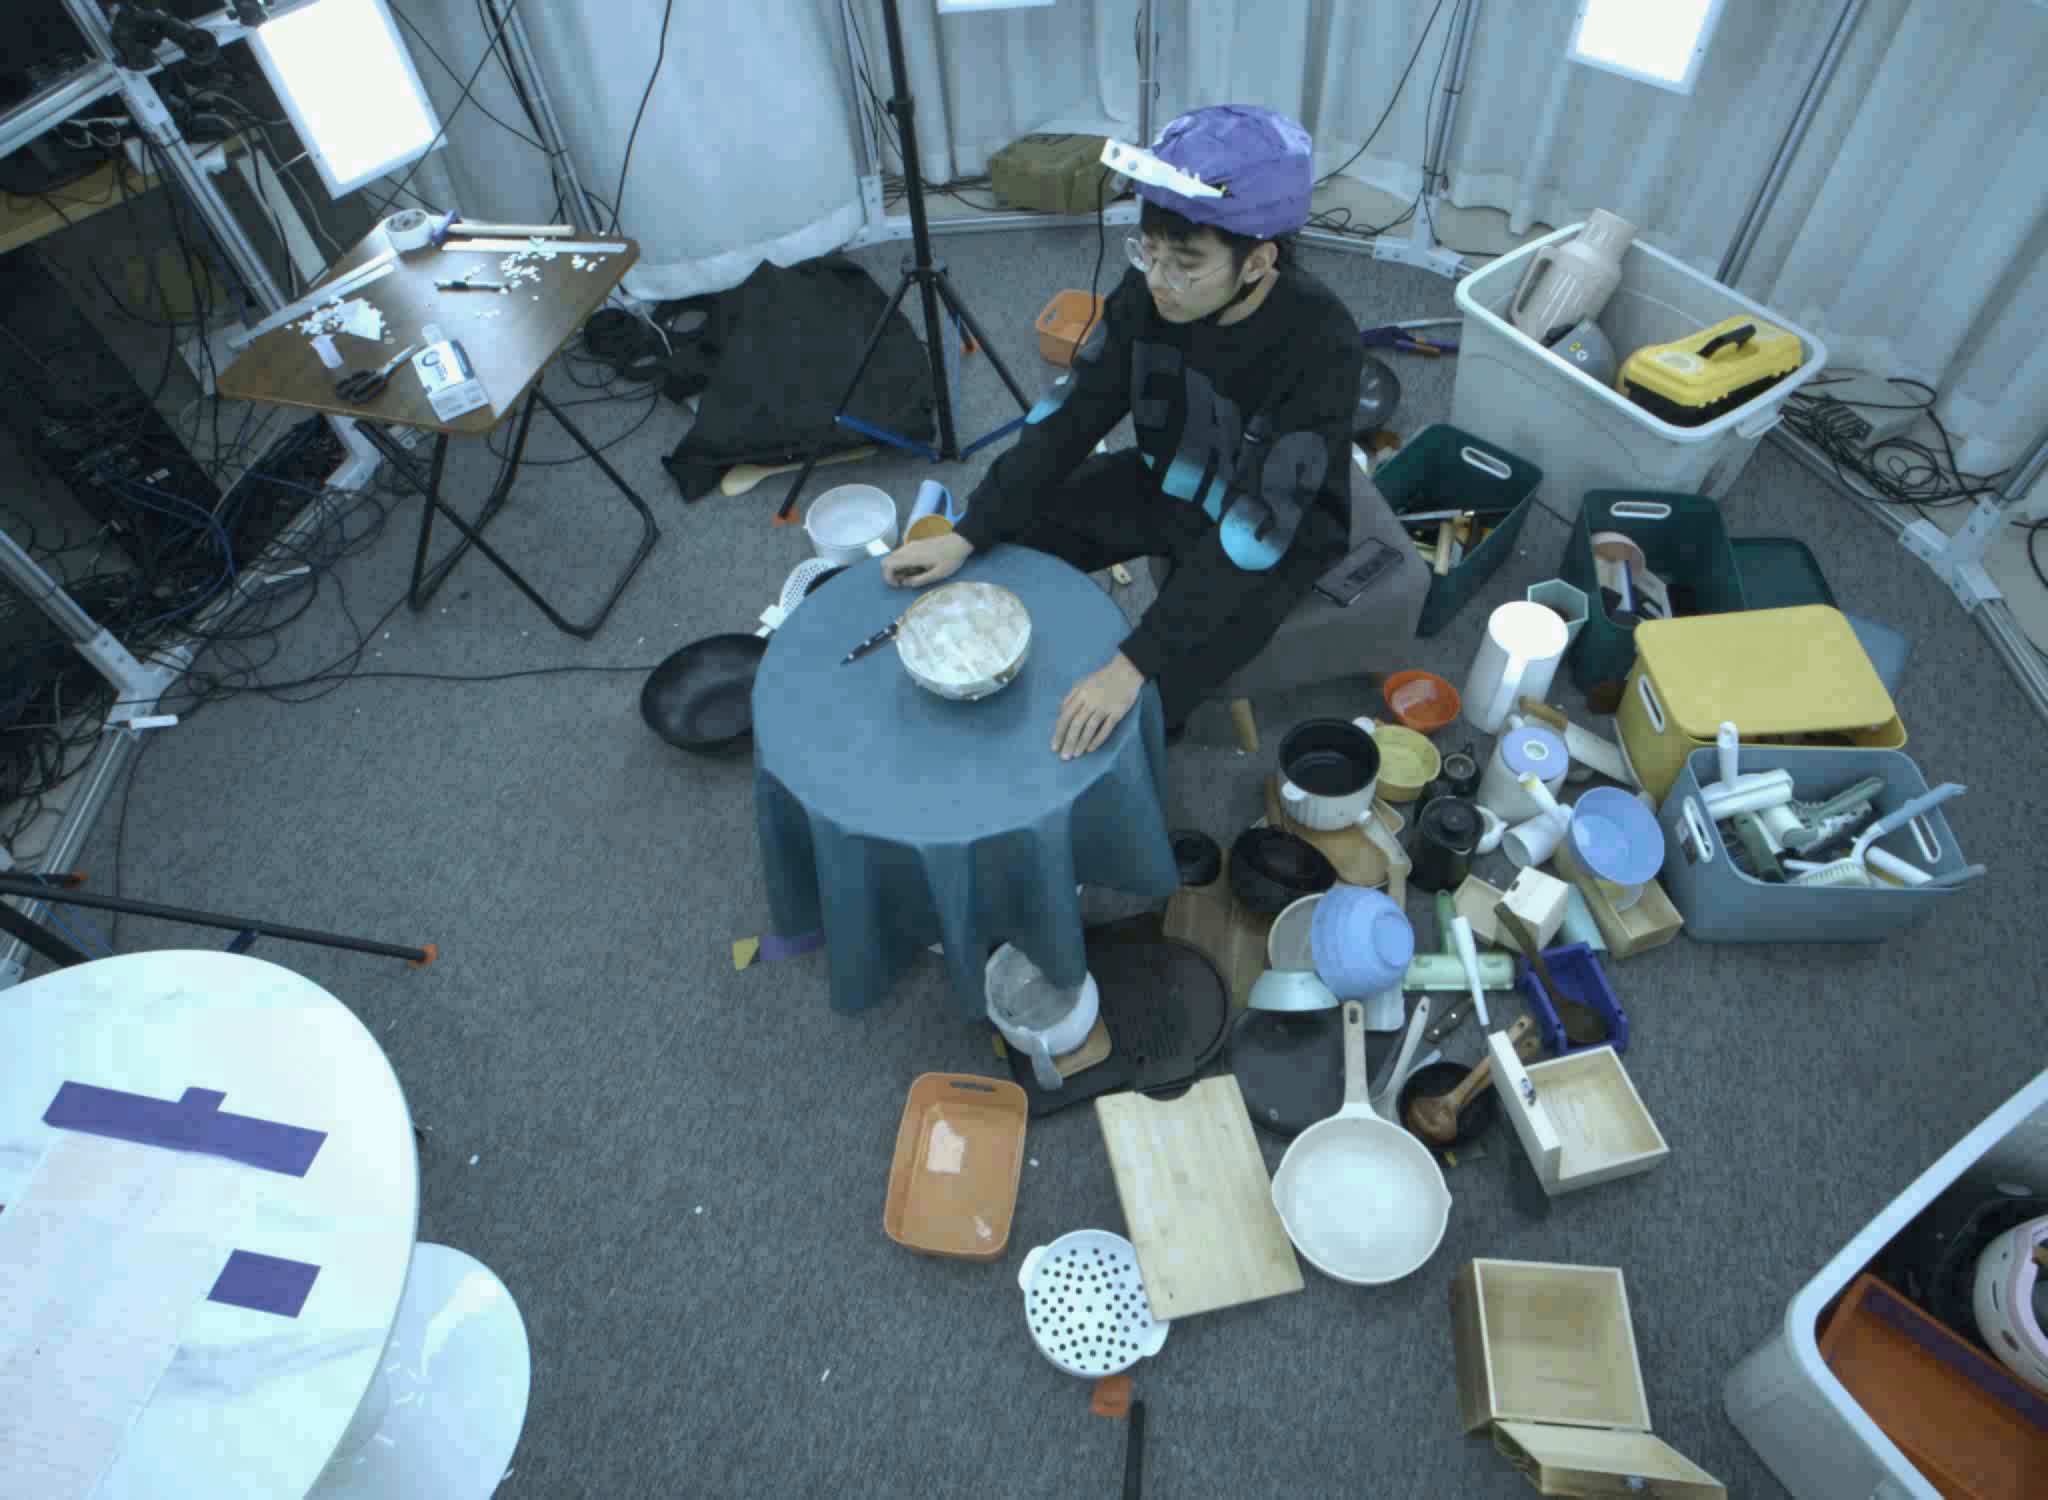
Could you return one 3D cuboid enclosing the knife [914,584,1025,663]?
[{"bbox_3d":[-0.084,-0.200,1.926,0.227,0.017,0.026,-34,68,-19],"label":"knife"}]

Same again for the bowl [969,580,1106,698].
[{"bbox_3d":[0.026,-0.152,1.835,0.214,0.096,0.212,-1,54,3],"label":"bowl"}]
